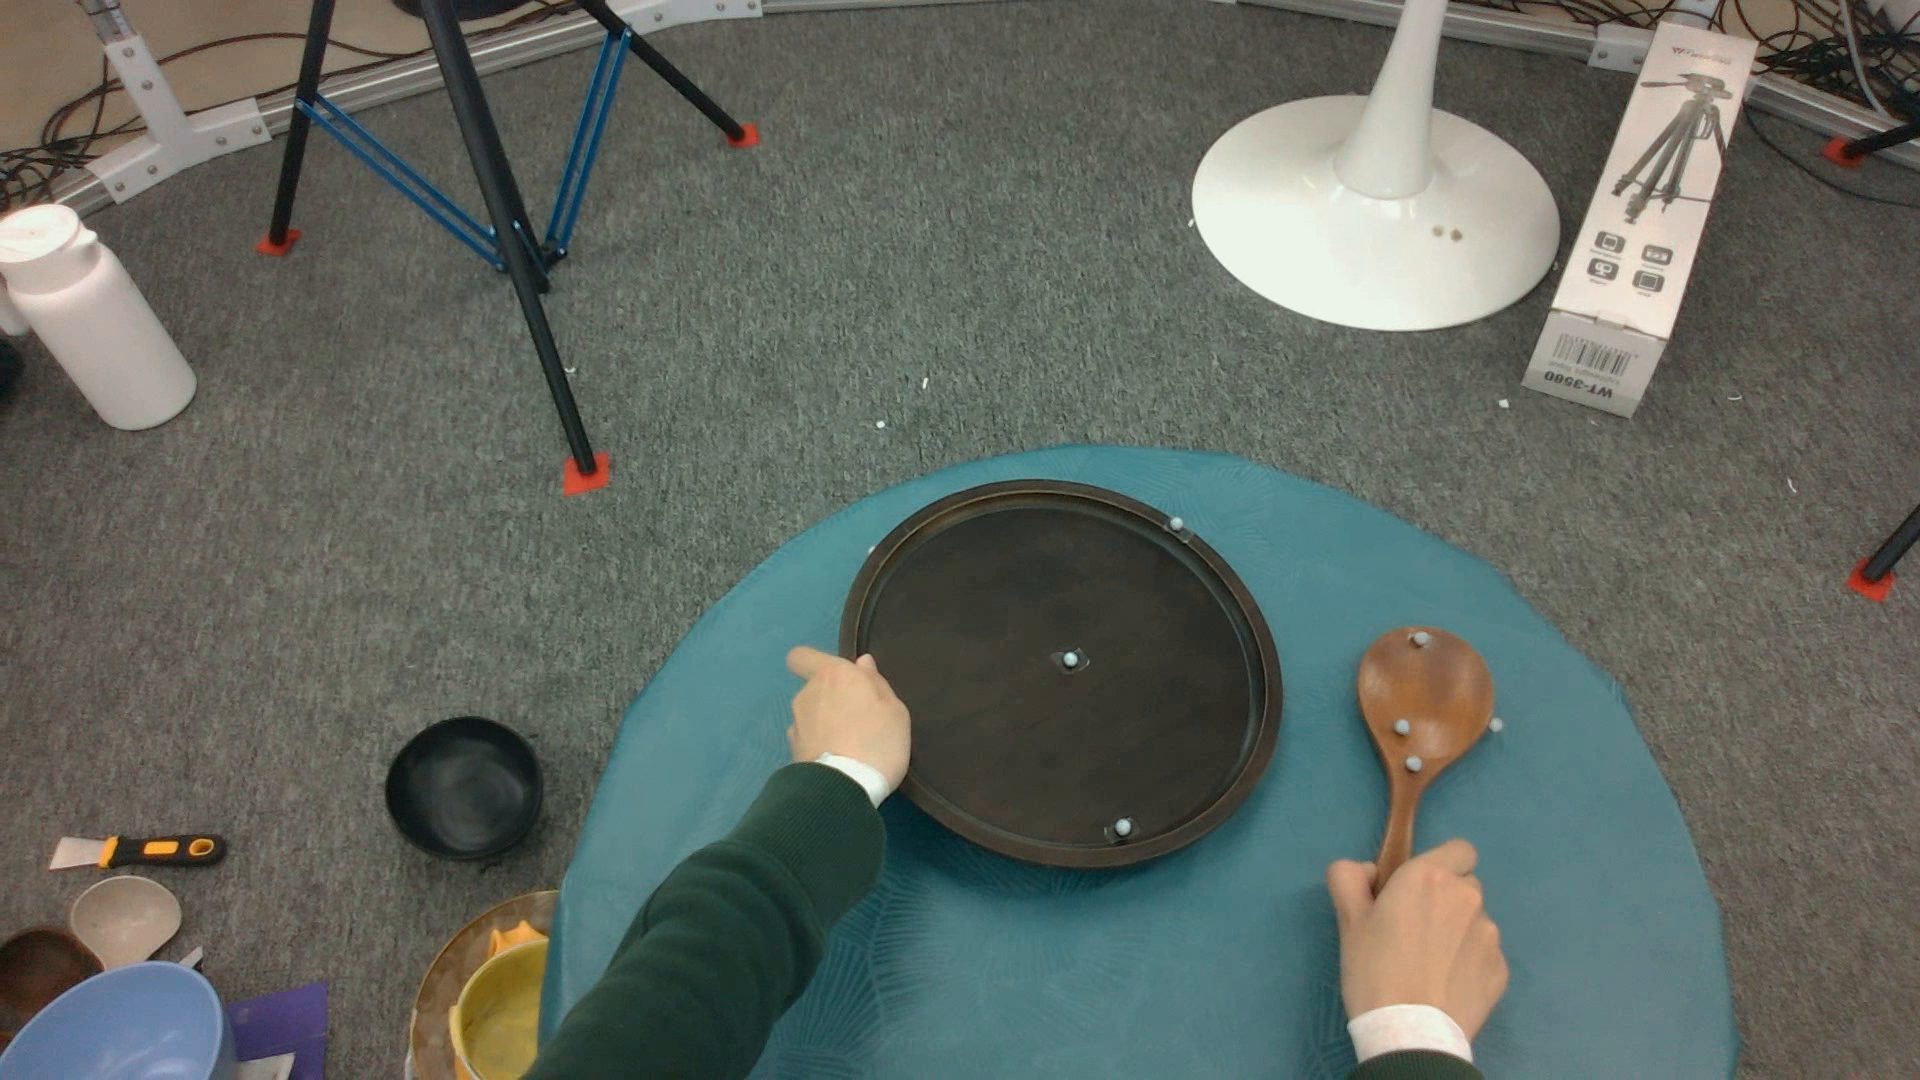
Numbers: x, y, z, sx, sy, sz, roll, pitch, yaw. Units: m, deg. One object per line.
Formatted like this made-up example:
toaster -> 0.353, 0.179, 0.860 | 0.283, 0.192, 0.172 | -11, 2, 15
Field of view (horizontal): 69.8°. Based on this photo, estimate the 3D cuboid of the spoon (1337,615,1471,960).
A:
spoon -> 0.232, 0.127, 0.744 | 0.075, 0.017, 0.217 | 15, 51, 11

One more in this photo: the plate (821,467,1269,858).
plate -> 0.048, 0.062, 0.777 | 0.255, 0.029, 0.256 | 5, 52, -6
